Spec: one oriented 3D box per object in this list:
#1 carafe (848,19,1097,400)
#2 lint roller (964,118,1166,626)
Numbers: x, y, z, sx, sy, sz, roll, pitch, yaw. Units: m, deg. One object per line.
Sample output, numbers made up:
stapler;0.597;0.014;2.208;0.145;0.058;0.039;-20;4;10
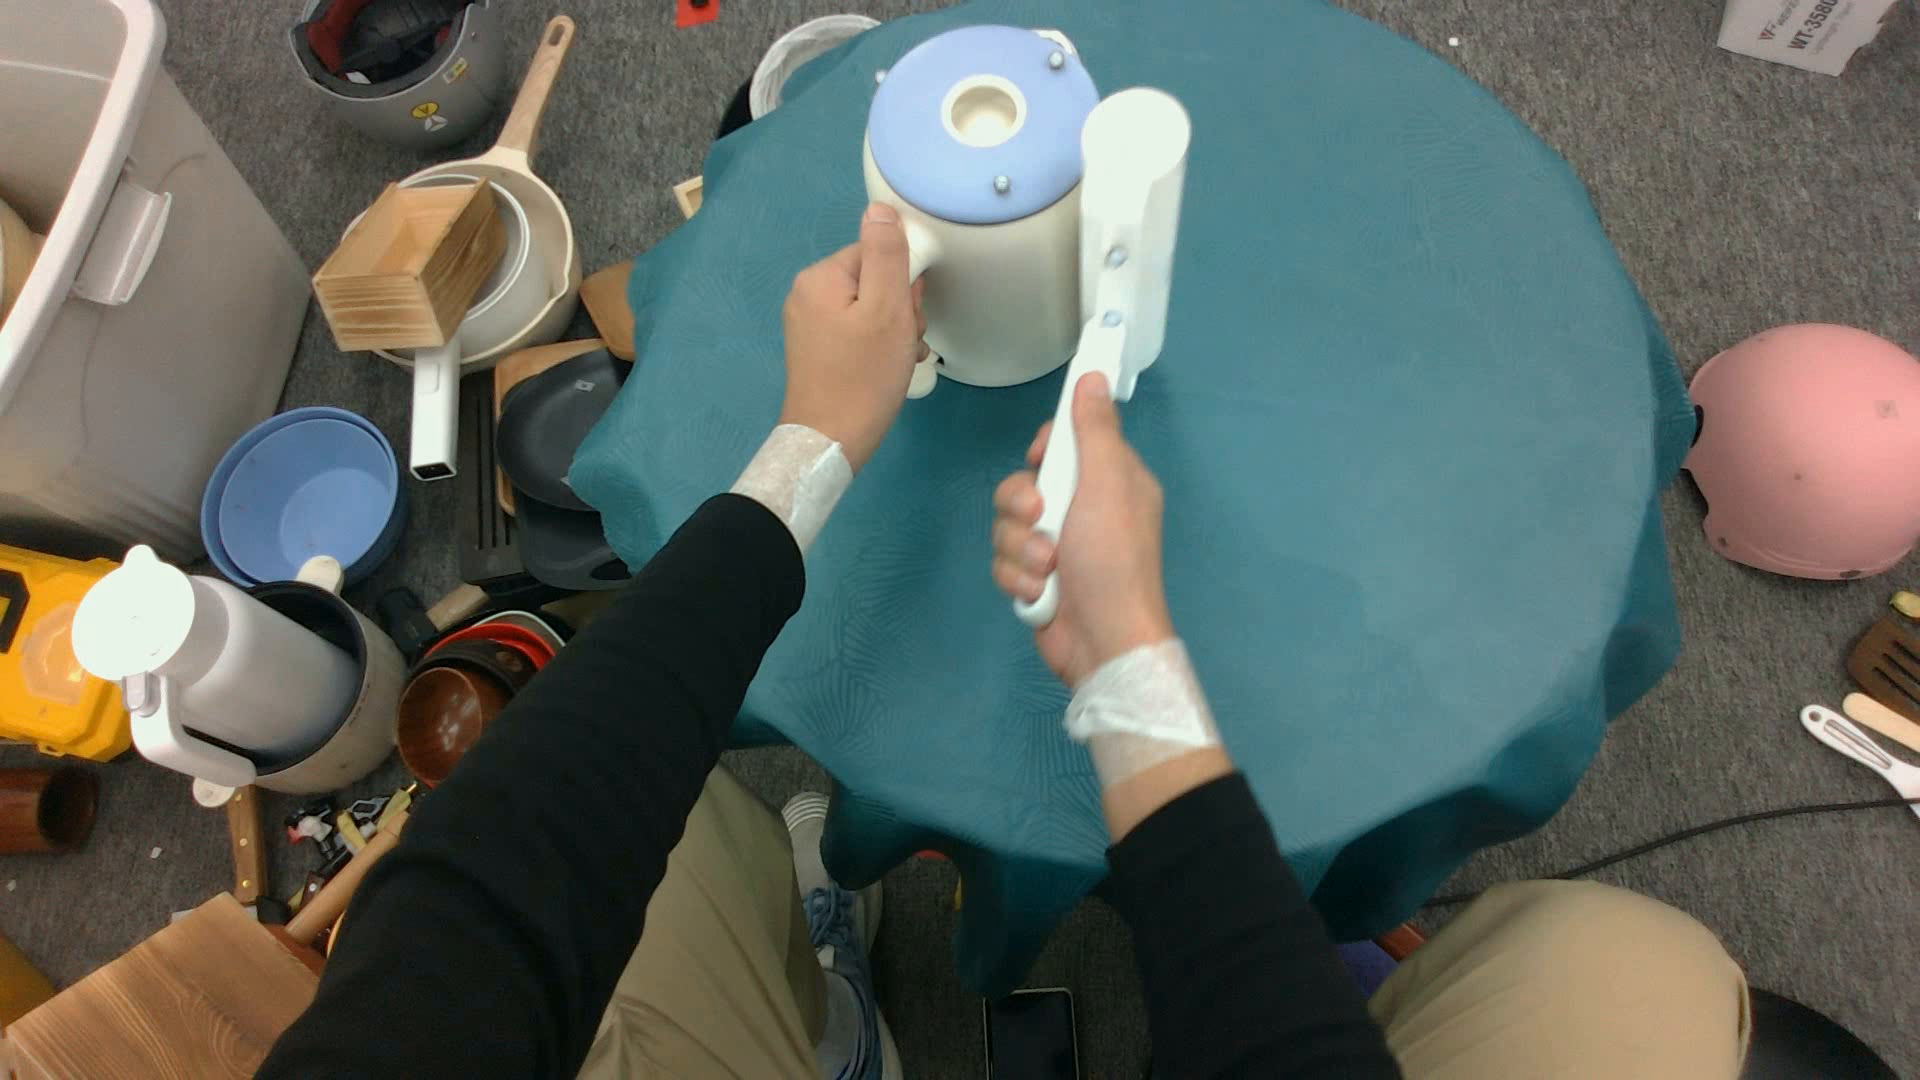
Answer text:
carafe;-0.003;-0.165;0.762;0.132;0.182;0.191;30;75;14
lint roller;0.052;-0.062;0.681;0.048;0.202;0.226;14;74;9
